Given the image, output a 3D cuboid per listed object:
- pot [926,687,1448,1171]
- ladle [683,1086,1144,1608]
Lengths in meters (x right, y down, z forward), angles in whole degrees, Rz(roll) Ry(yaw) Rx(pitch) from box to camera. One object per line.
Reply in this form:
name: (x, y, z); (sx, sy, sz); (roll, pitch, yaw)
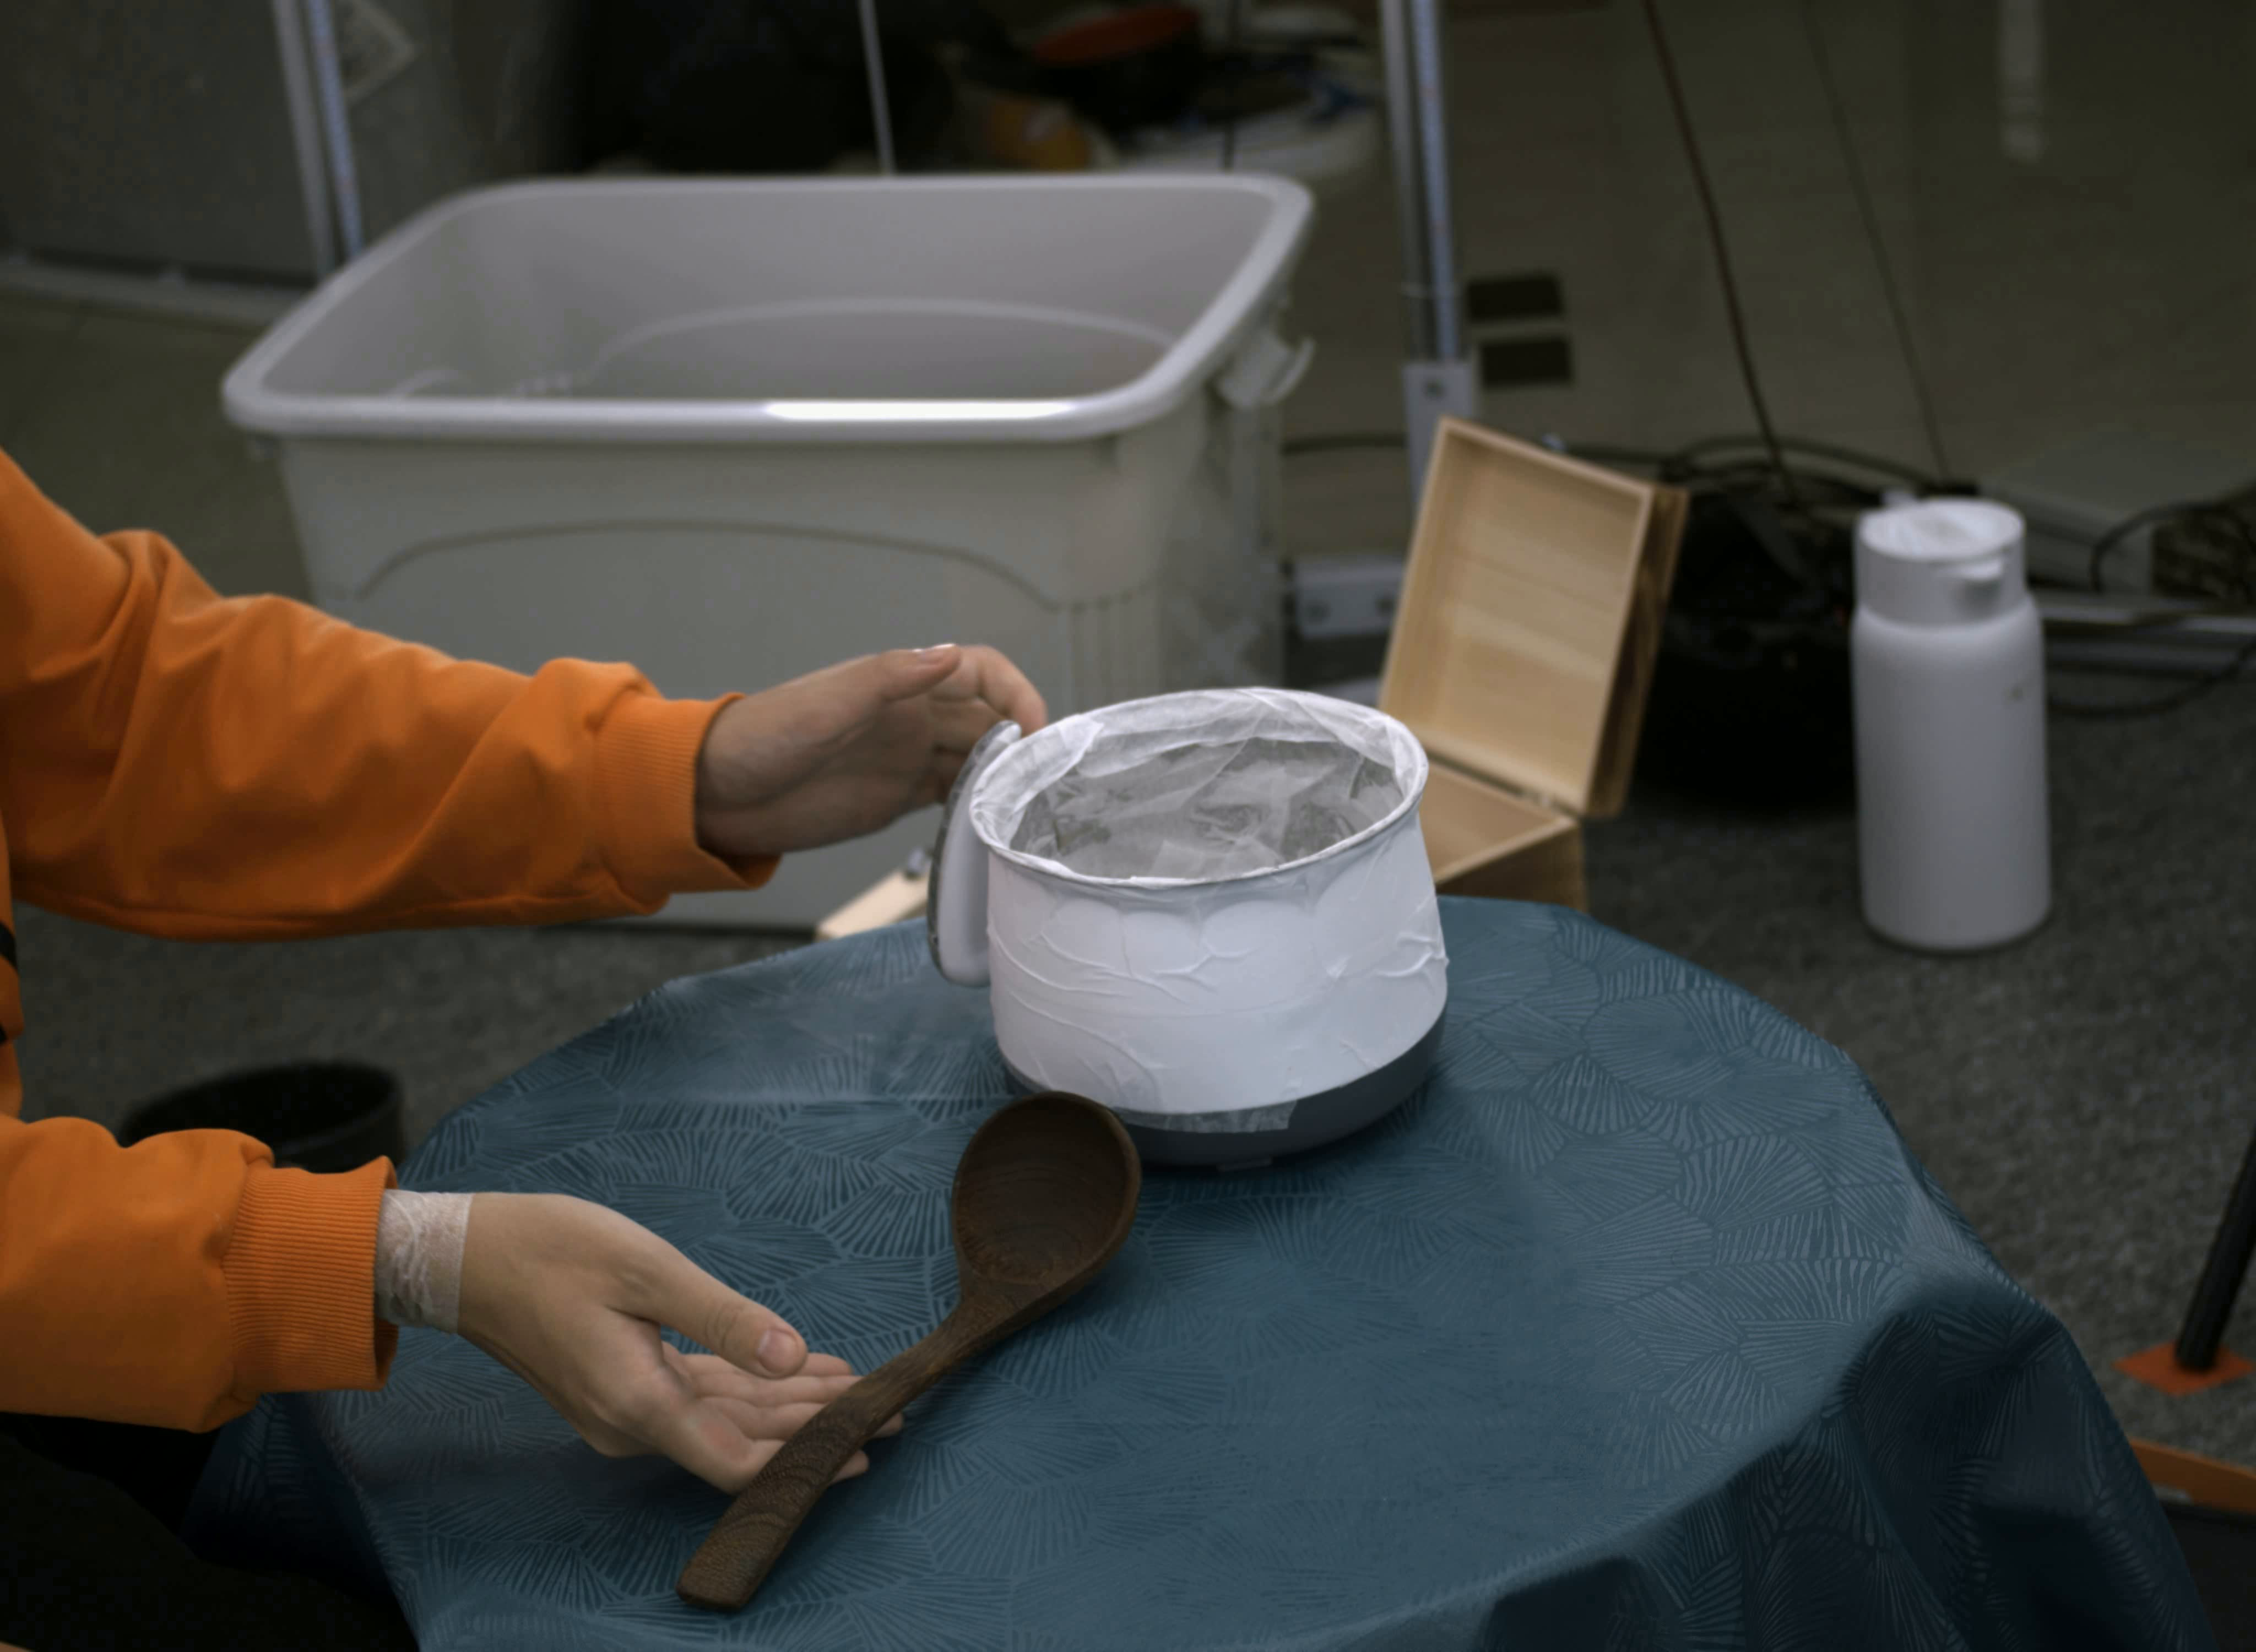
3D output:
pot: (0.011, 0.035, 2.201); (0.232, 0.139, 0.177); (15, 32, 37)
ladle: (-0.080, 0.177, 1.999); (0.076, 0.072, 0.271); (7, 27, 29)
